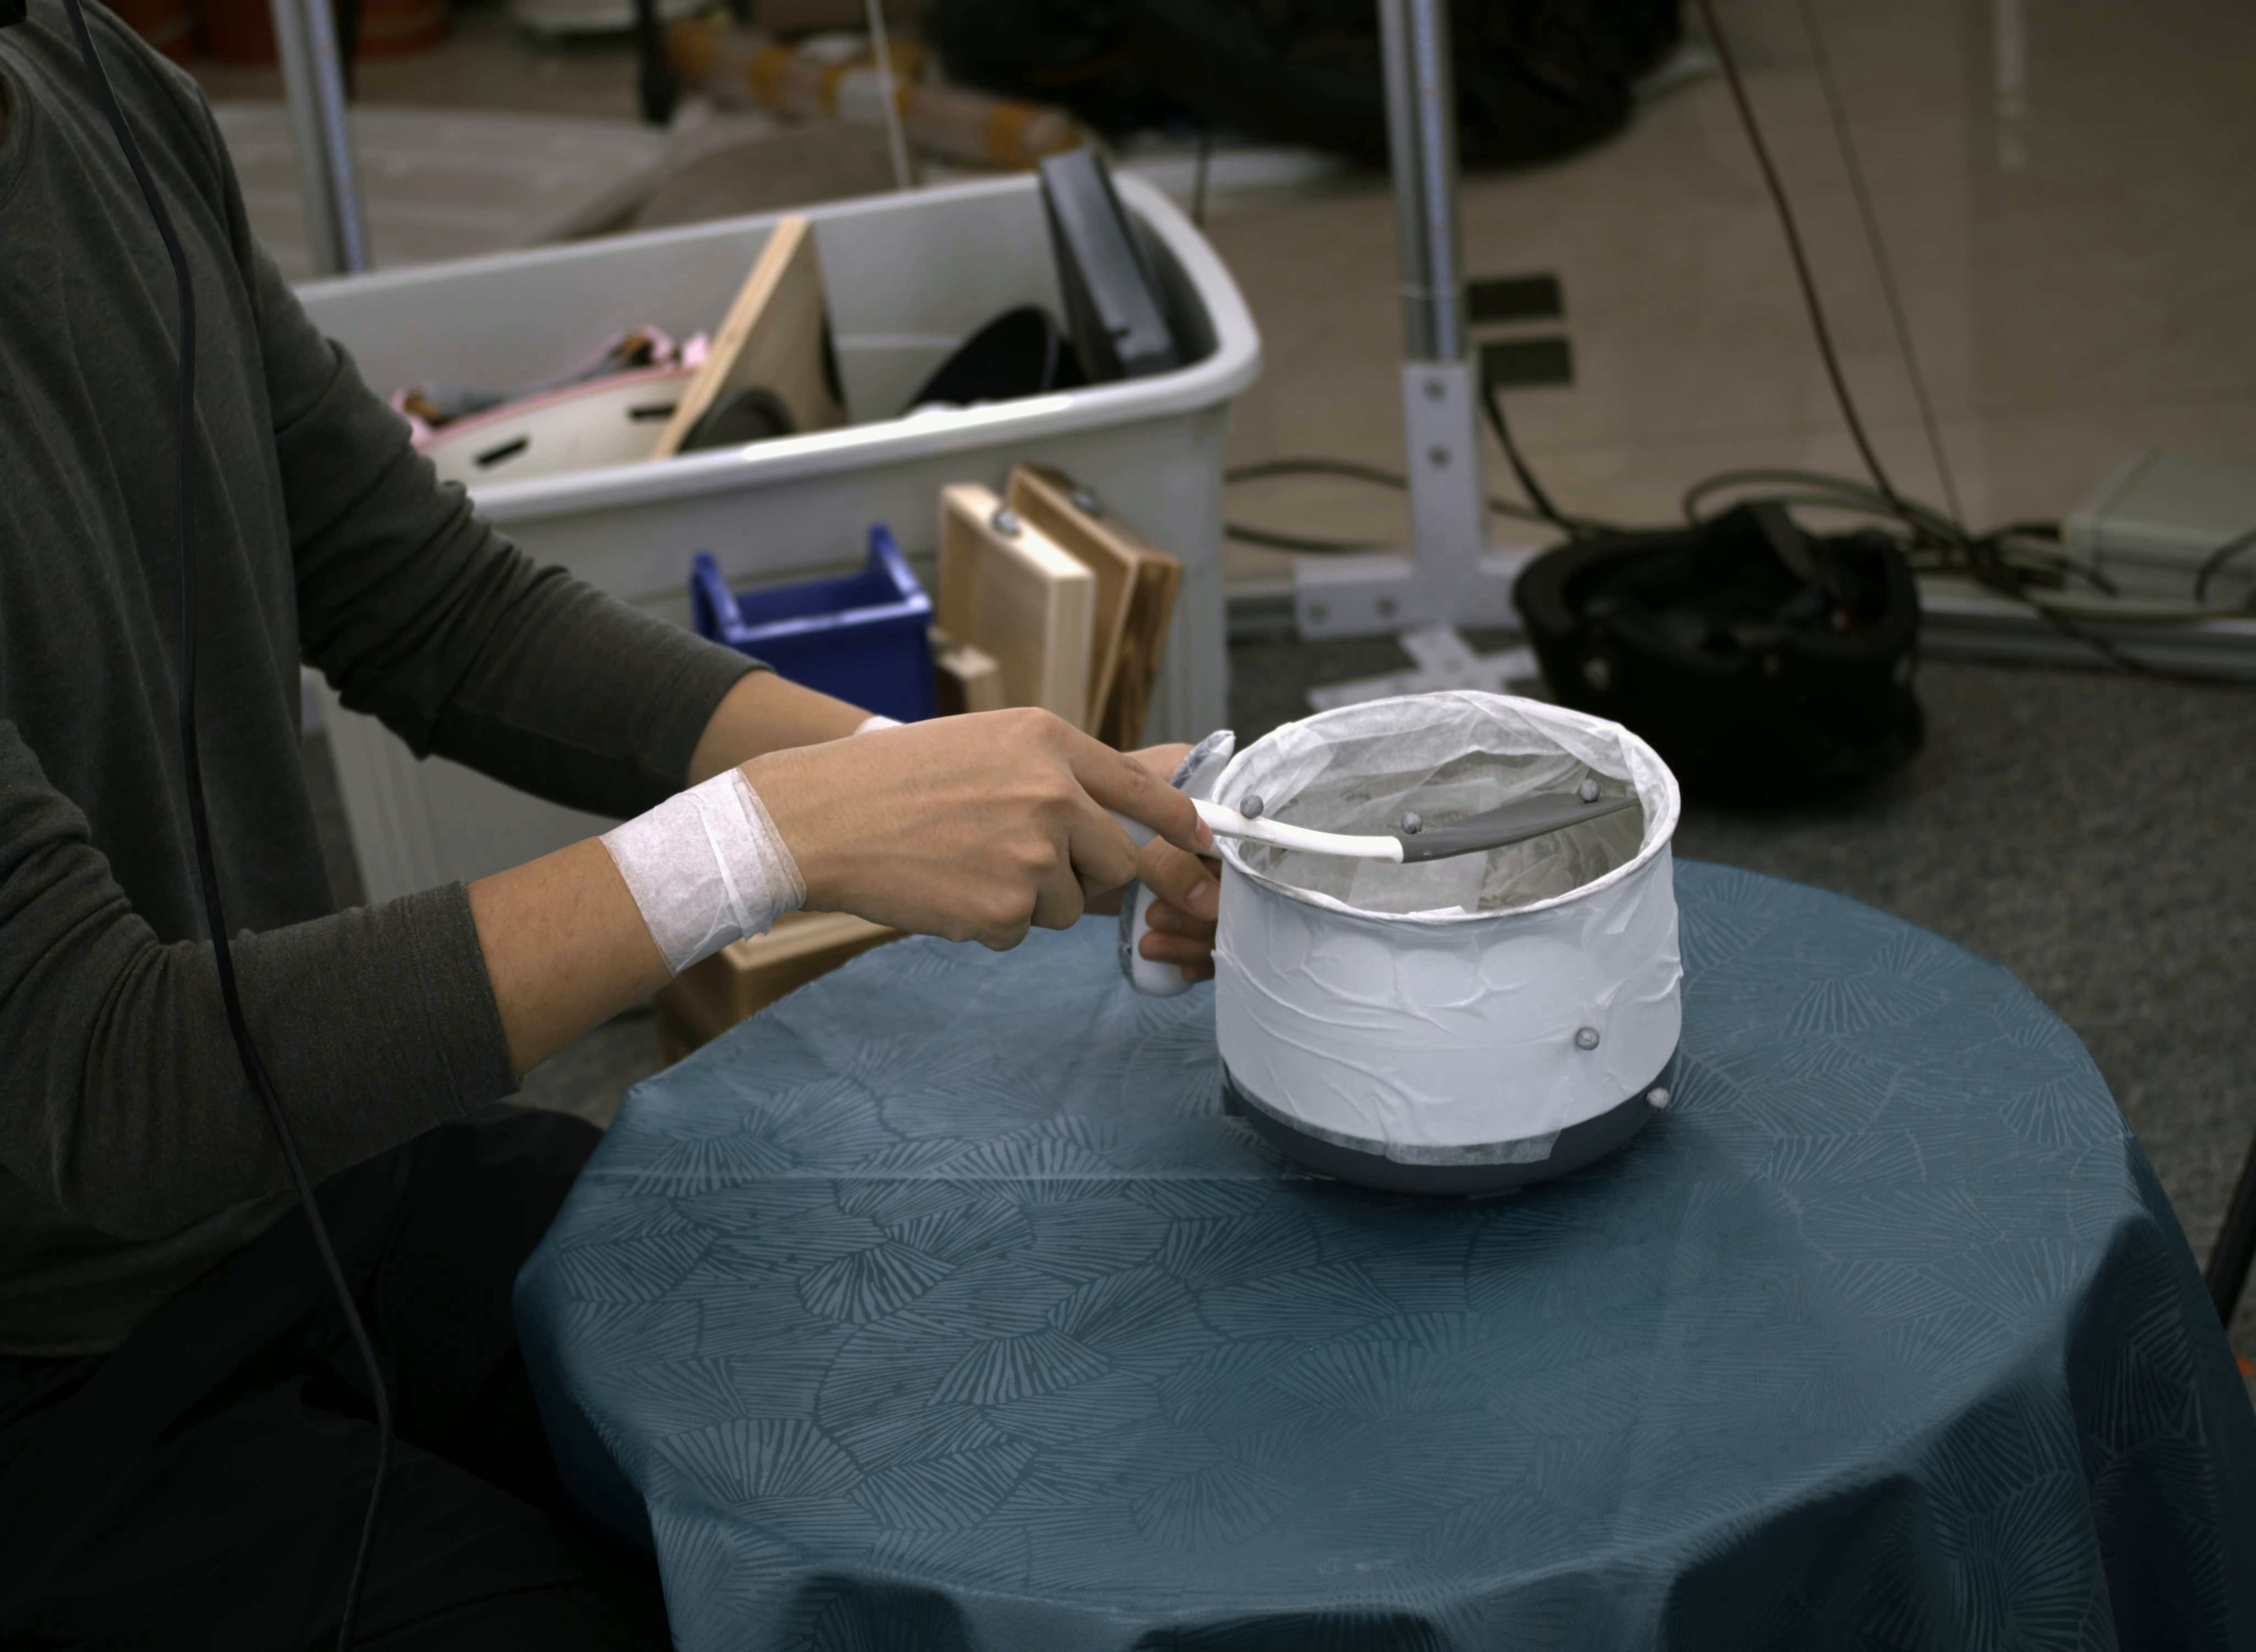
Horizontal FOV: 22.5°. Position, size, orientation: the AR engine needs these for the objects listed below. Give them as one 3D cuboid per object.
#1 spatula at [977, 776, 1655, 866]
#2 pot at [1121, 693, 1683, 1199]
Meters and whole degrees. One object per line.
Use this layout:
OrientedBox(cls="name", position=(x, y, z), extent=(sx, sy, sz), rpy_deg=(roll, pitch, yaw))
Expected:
OrientedBox(cls="spatula", position=(0.070, -0.002, 2.071), extent=(0.287, 0.032, 0.058), rpy_deg=(0, -1, -36))
OrientedBox(cls="pot", position=(0.097, 0.041, 2.156), extent=(0.232, 0.139, 0.176), rpy_deg=(15, 34, 29))
